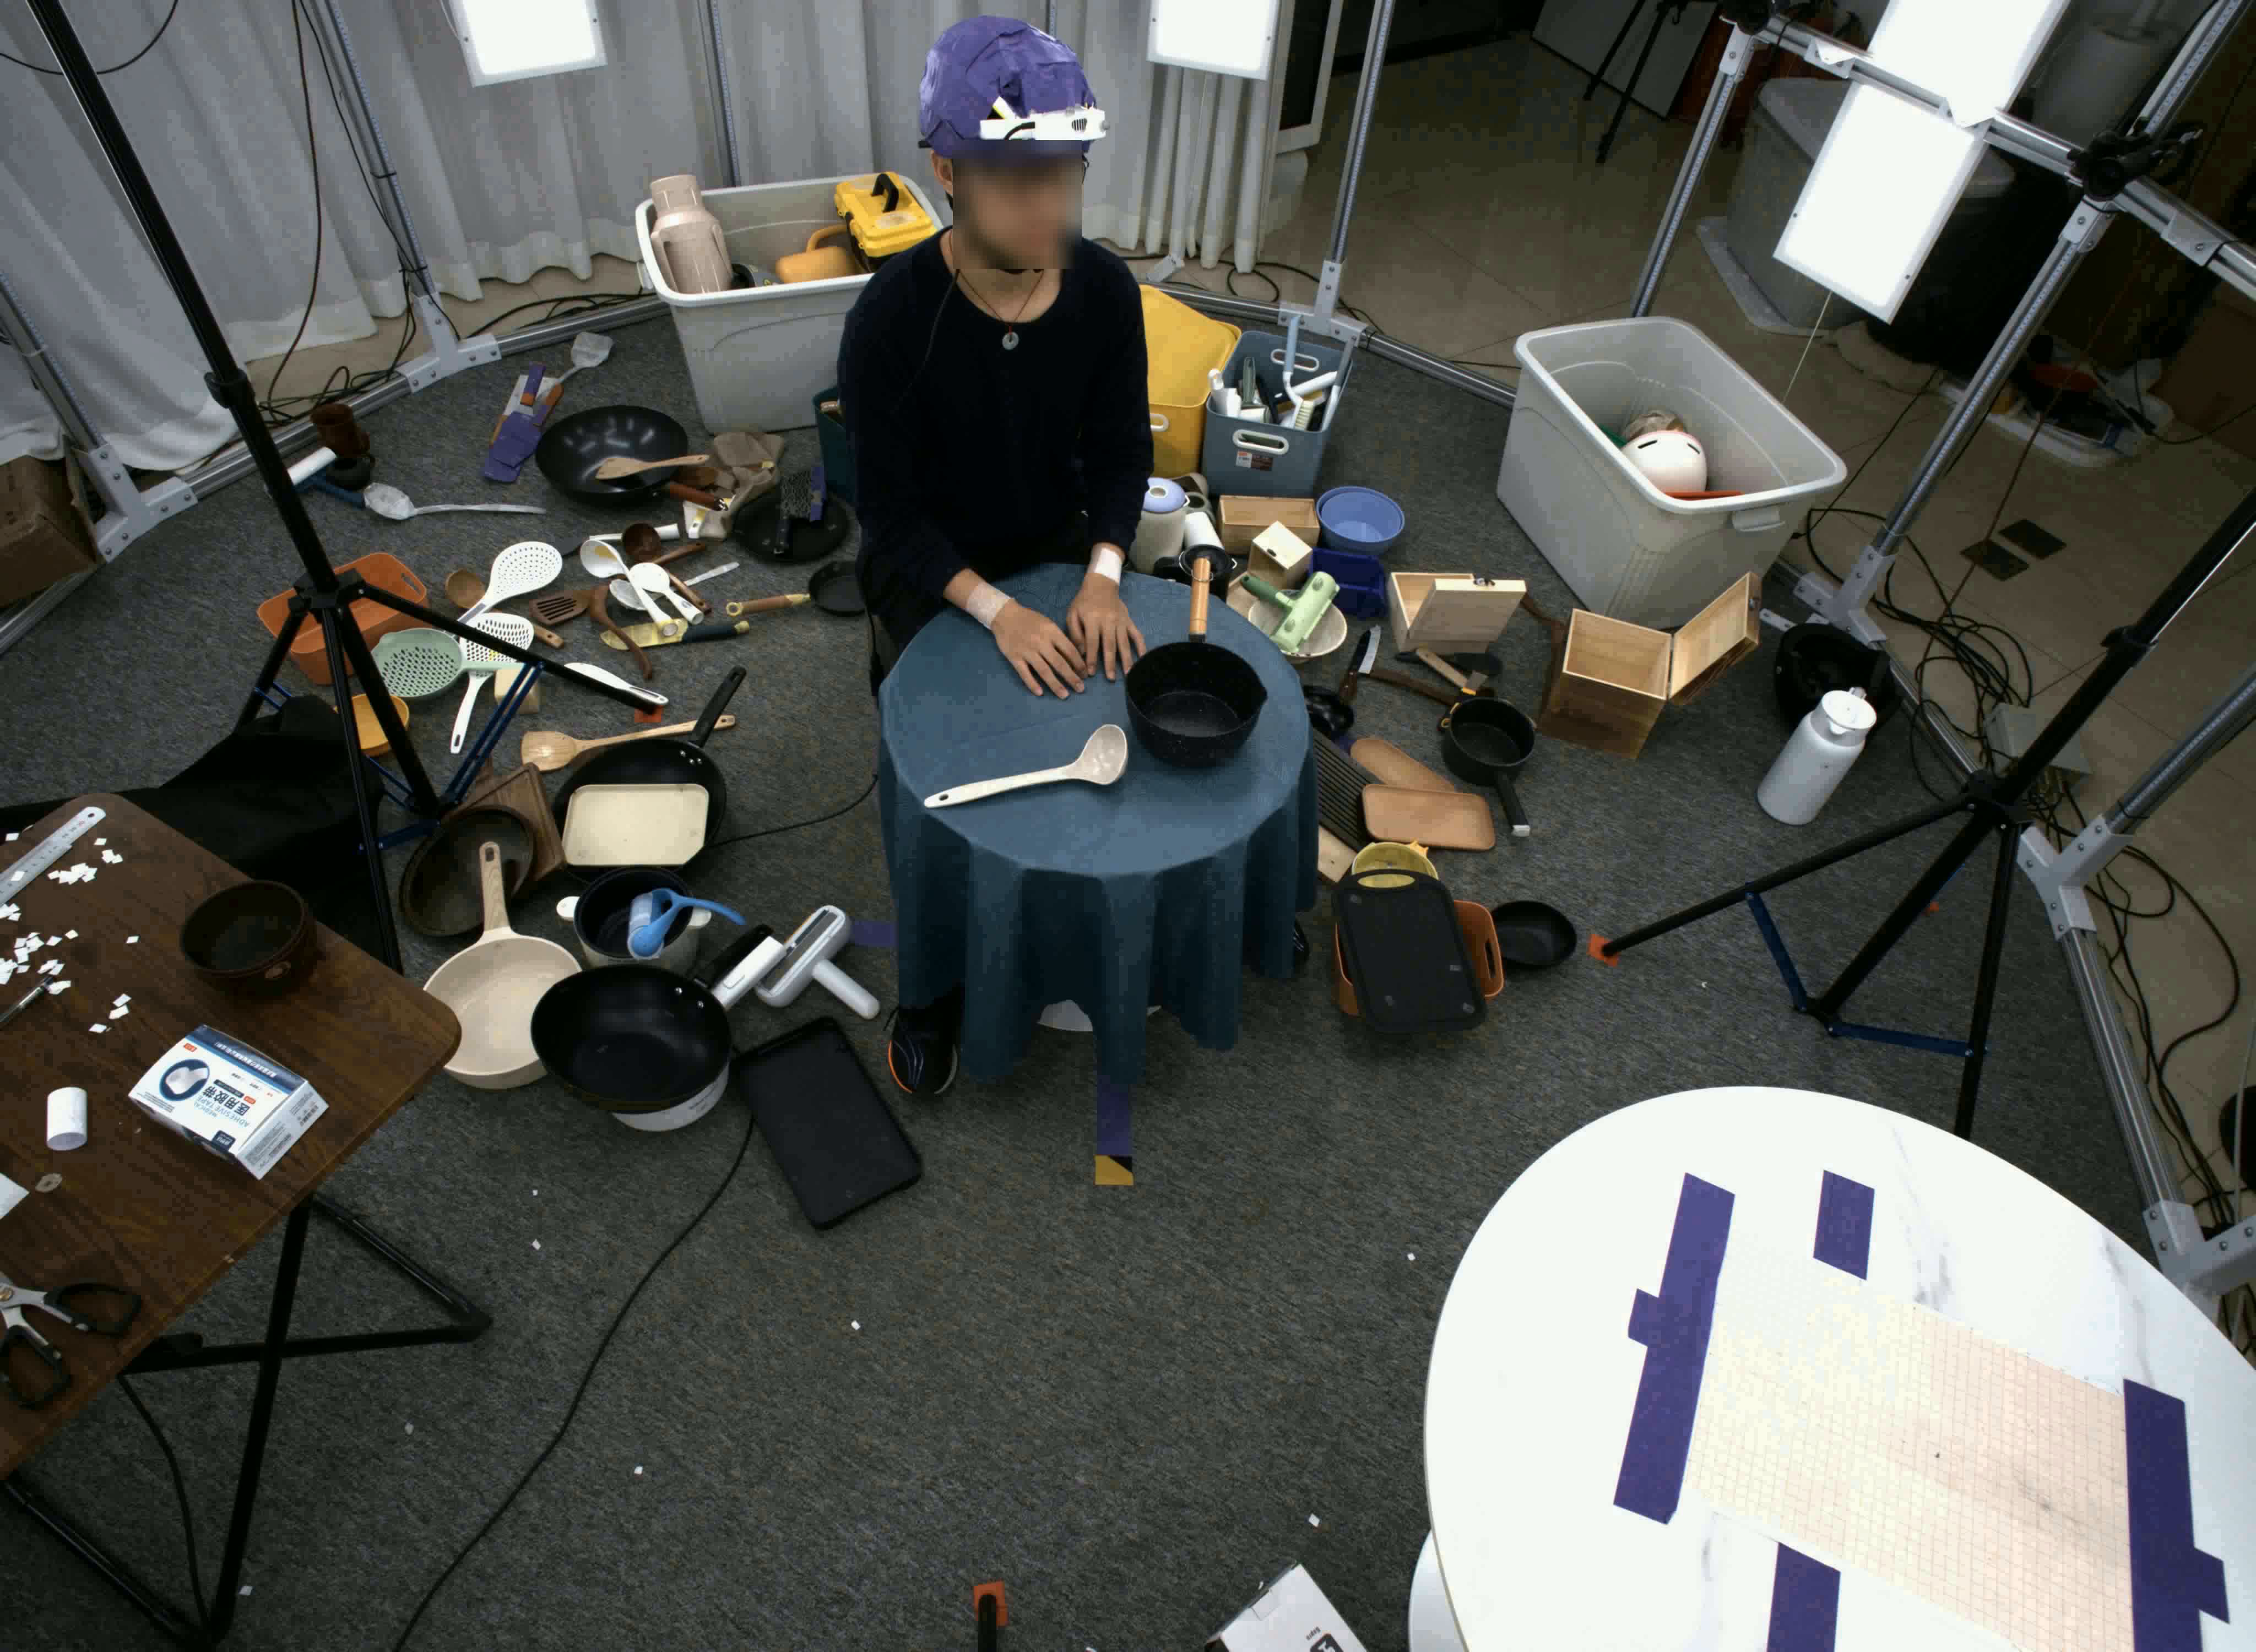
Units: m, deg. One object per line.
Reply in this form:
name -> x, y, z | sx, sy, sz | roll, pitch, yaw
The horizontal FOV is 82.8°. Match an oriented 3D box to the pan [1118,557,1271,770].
pan -> 0.093, -0.230, 1.804 | 0.207, 0.105, 0.351 | 3, 50, 1

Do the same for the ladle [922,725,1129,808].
ladle -> -0.133, -0.074, 1.679 | 0.275, 0.068, 0.091 | -11, 55, -14
